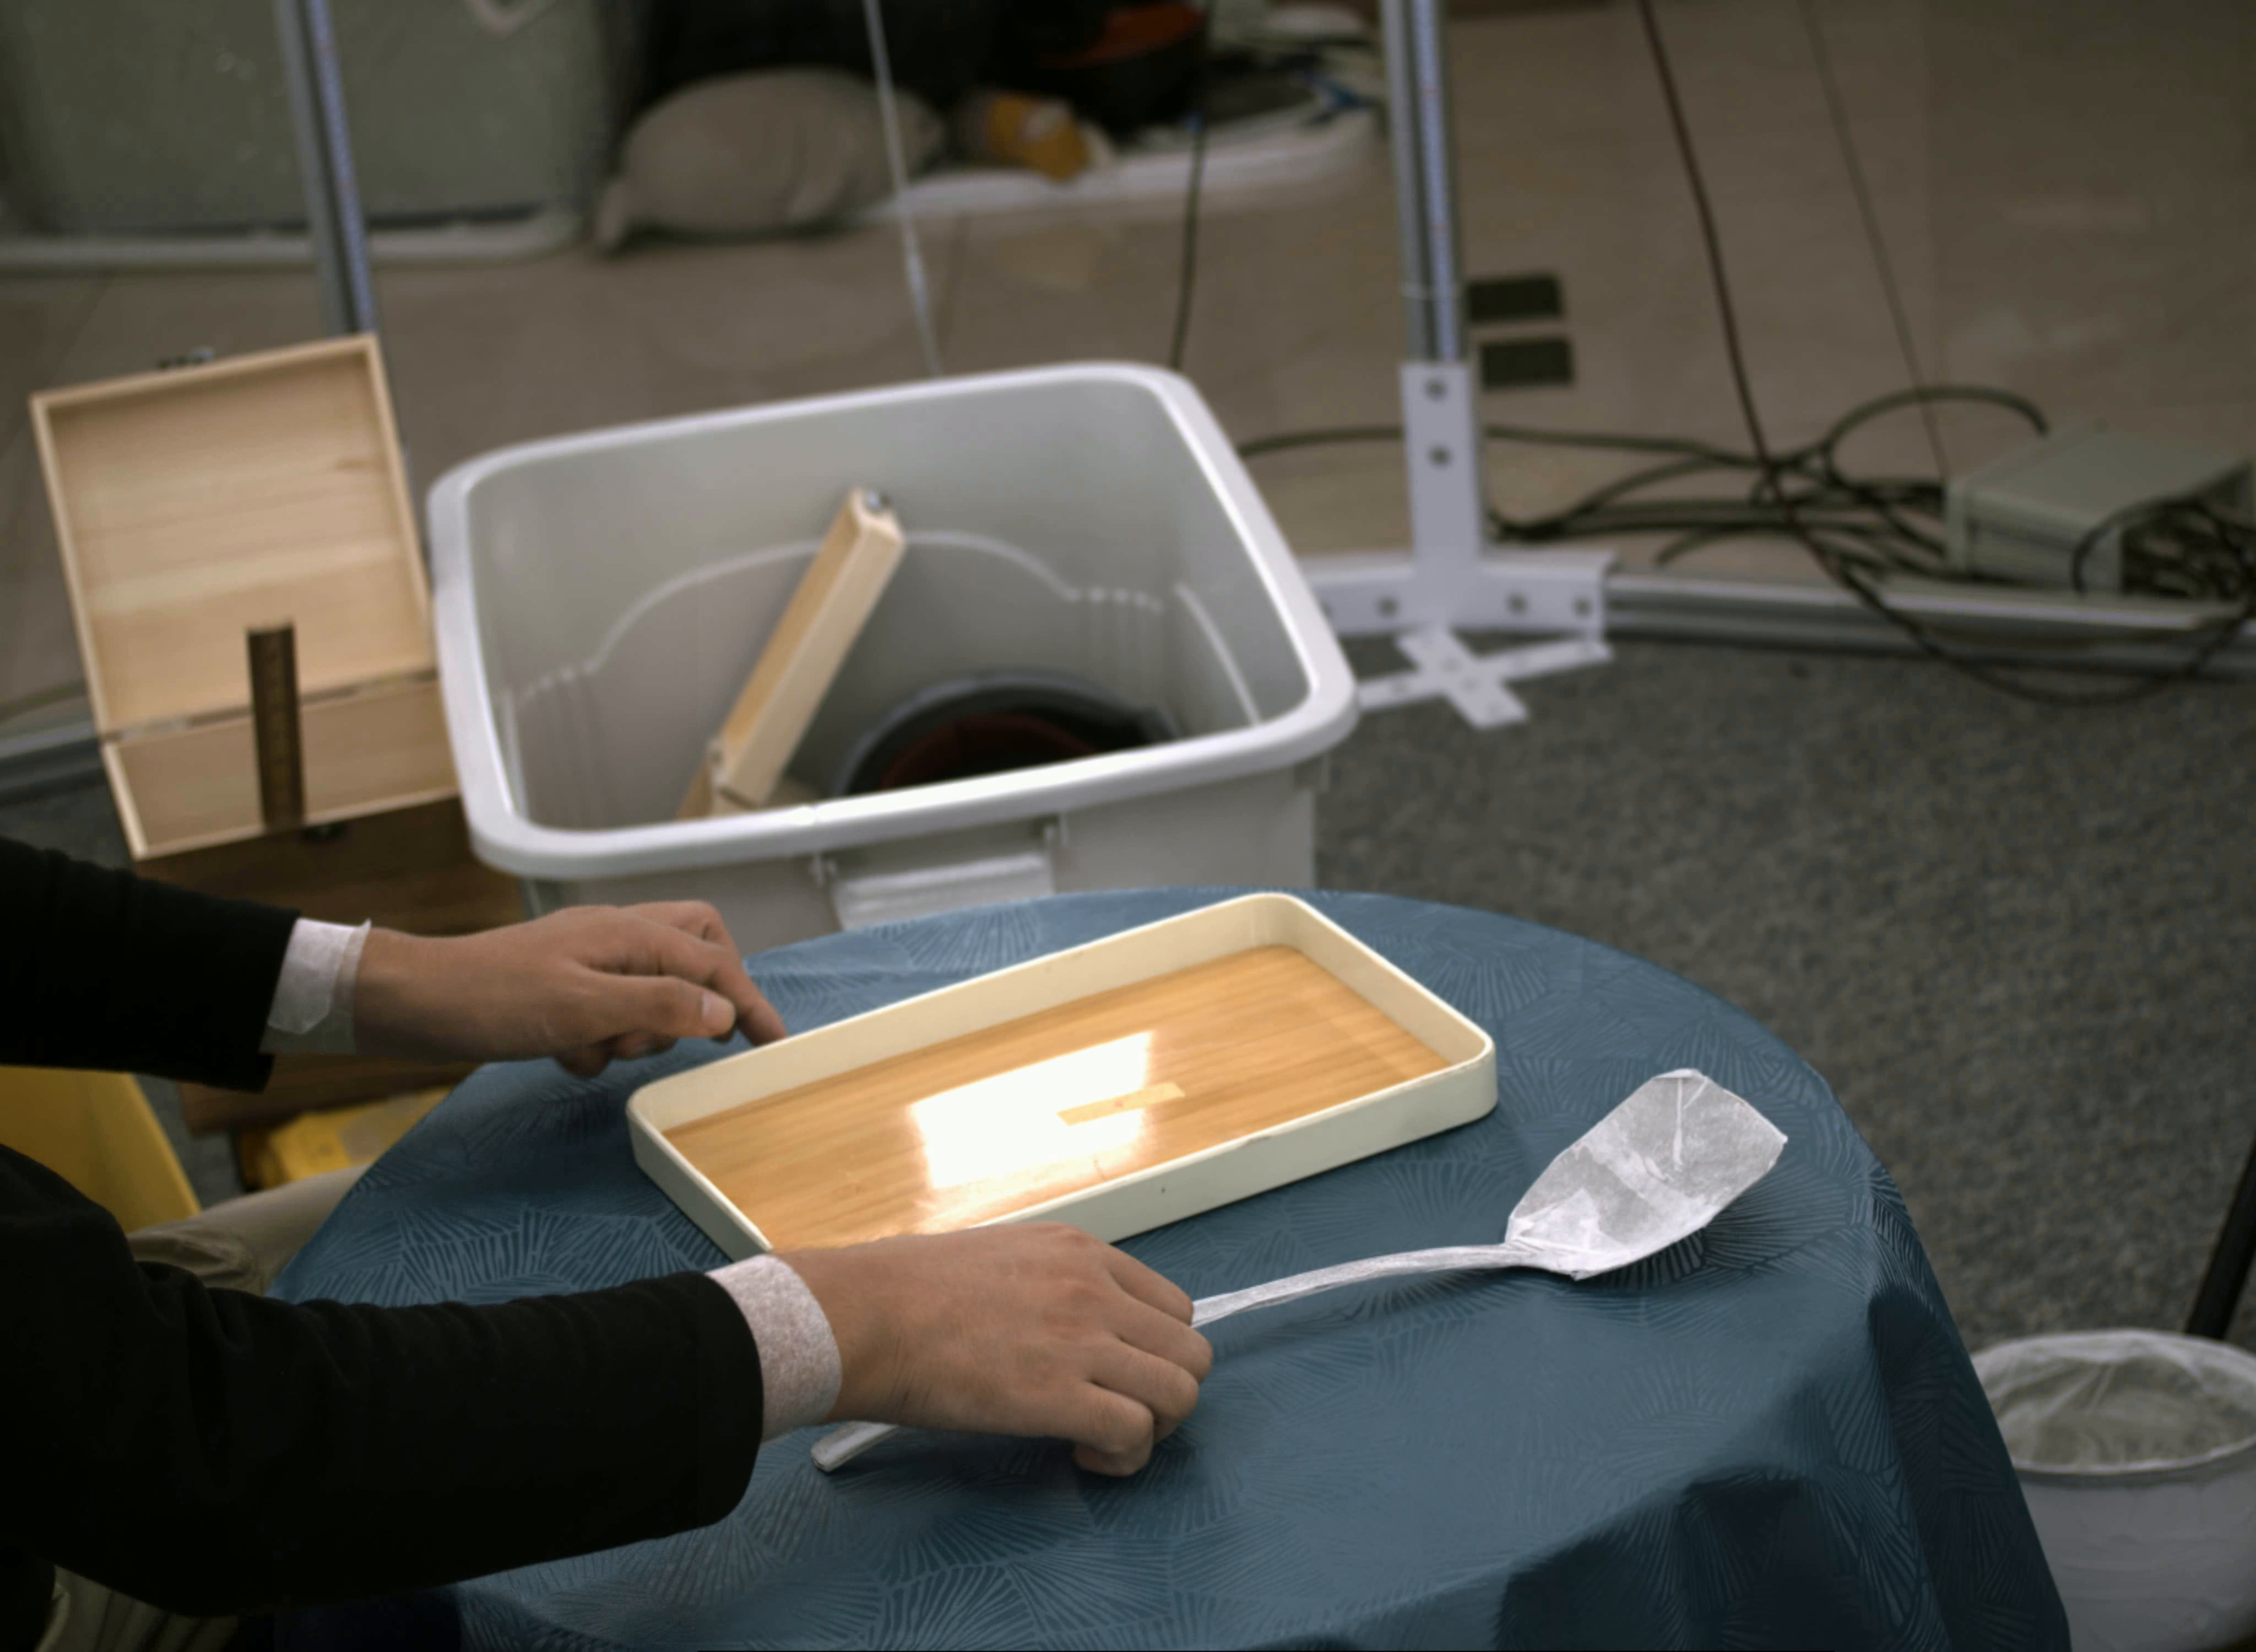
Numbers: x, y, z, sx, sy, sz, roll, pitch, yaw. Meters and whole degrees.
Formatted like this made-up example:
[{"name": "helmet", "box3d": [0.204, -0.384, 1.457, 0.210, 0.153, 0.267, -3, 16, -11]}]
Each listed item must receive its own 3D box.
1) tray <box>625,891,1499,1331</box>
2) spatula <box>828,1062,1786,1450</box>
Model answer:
[{"name": "tray", "box3d": [-0.026, 0.106, 2.192, 0.299, 0.028, 0.189, -17, 27, -21]}, {"name": "spatula", "box3d": [0.064, 0.161, 2.040, 0.363, 0.045, 0.097, -14, 24, -16]}]
